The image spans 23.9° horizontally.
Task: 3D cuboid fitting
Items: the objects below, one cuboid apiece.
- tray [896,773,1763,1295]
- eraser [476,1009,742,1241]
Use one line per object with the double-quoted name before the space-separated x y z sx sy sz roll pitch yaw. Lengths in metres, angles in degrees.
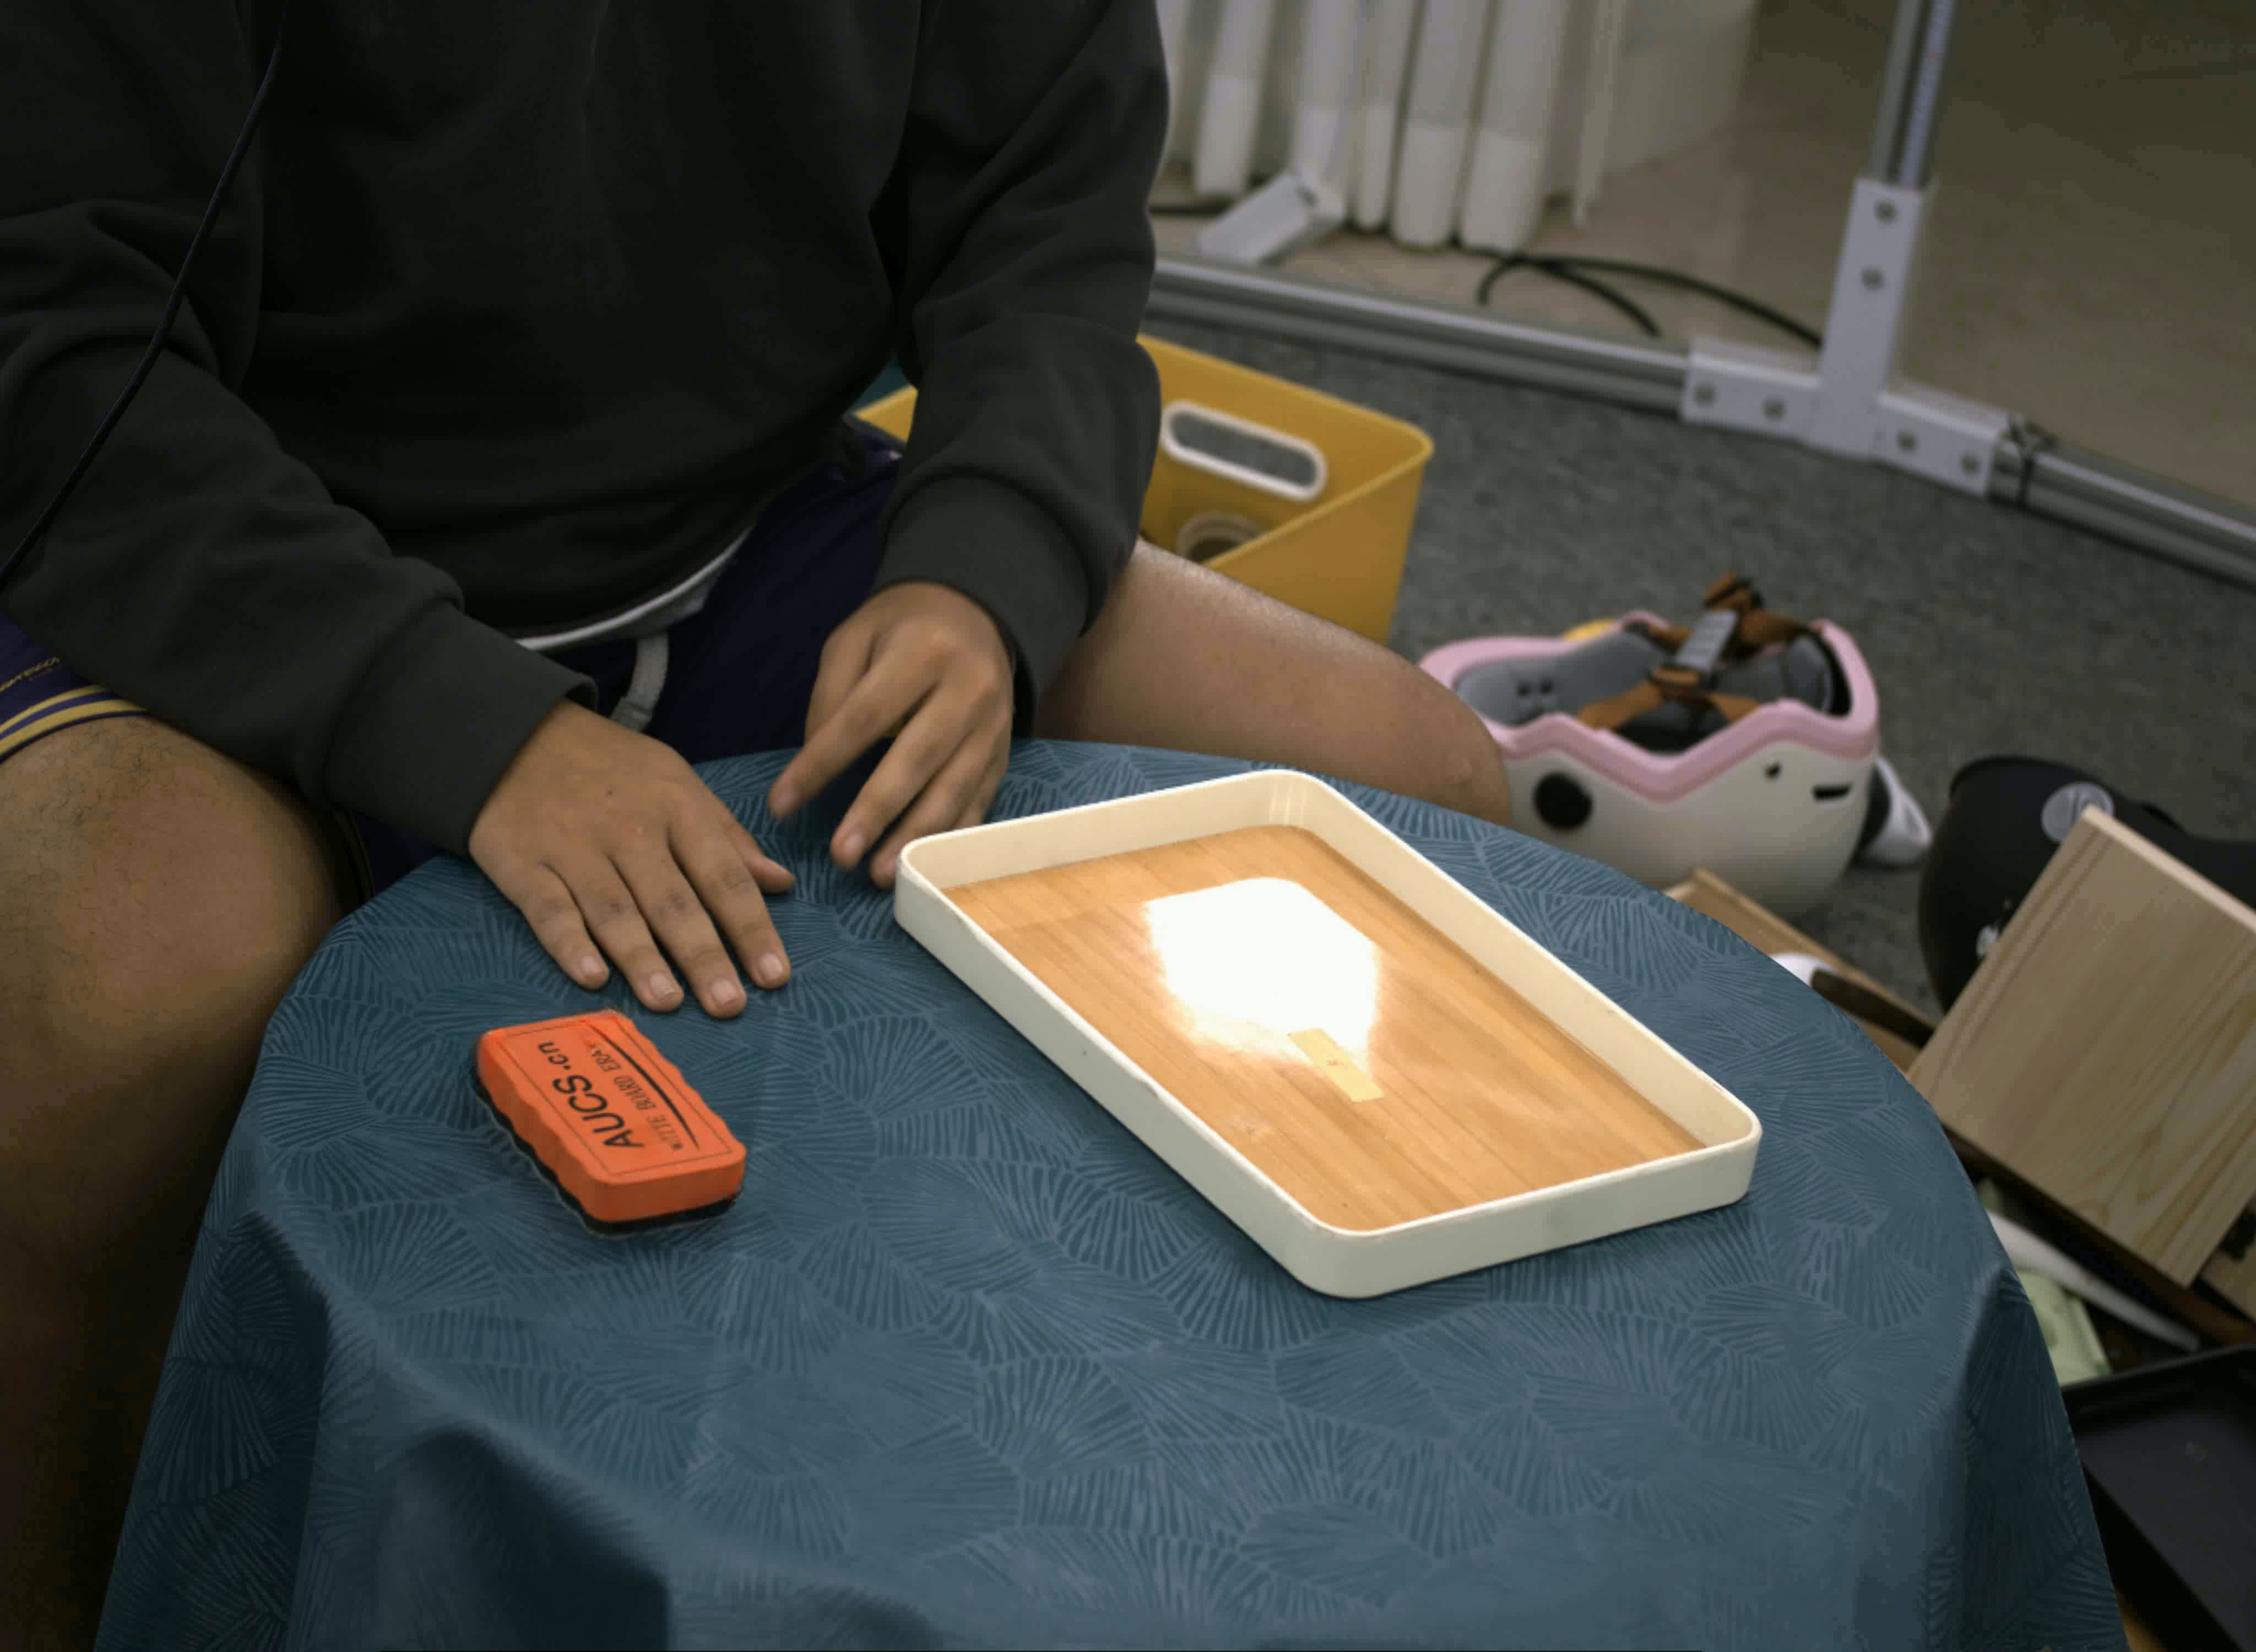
"tray" 0.066 0.068 1.896 0.190 0.027 0.303 -11 31 -31
"eraser" -0.174 0.099 1.783 0.058 0.023 0.109 -9 31 -28
